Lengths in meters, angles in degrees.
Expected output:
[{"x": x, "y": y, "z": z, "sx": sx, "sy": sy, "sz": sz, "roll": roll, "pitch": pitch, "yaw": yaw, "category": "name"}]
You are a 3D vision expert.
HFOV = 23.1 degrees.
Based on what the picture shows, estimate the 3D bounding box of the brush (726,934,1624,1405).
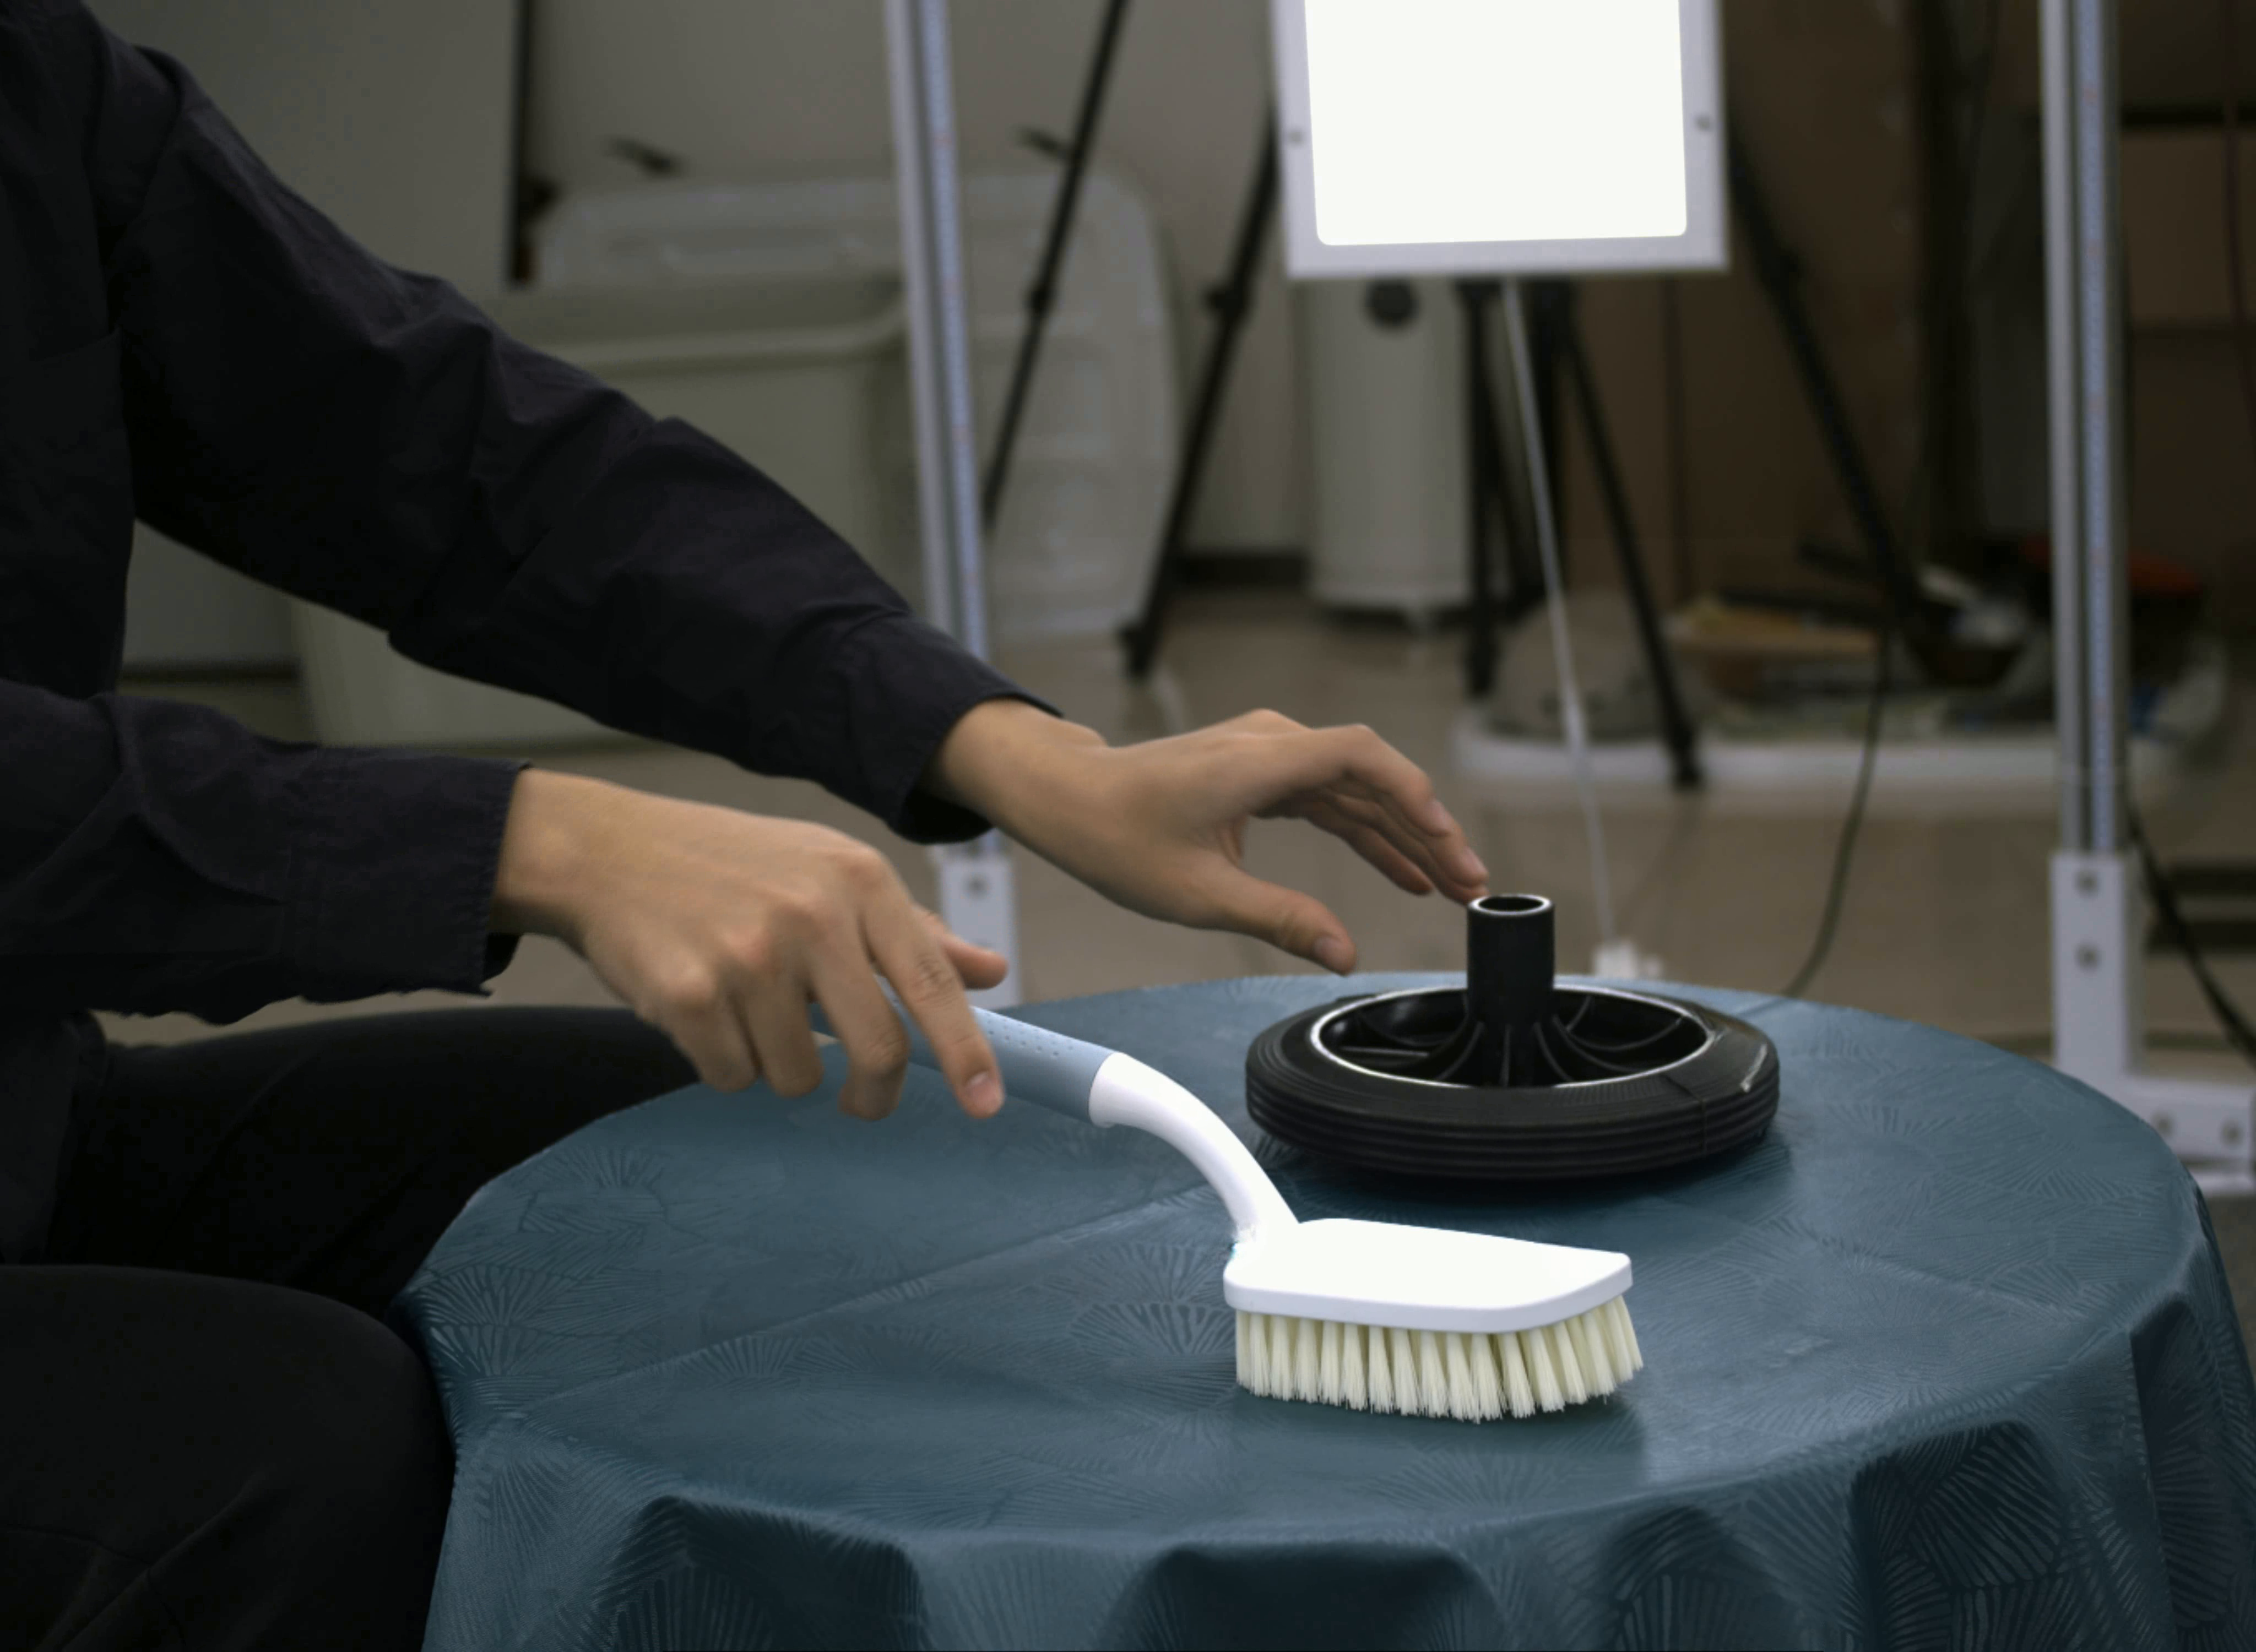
[{"x": 0.009, "y": 0.121, "z": 1.734, "sx": 0.331, "sy": 0.084, "sz": 0.082, "roll": 17, "pitch": -14, "yaw": 28, "category": "brush"}]

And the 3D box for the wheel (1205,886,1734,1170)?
[{"x": 0.119, "y": 0.063, "z": 1.929, "sx": 0.190, "sy": 0.079, "sz": 0.186, "roll": 3, "pitch": 15, "yaw": 19, "category": "wheel"}]
